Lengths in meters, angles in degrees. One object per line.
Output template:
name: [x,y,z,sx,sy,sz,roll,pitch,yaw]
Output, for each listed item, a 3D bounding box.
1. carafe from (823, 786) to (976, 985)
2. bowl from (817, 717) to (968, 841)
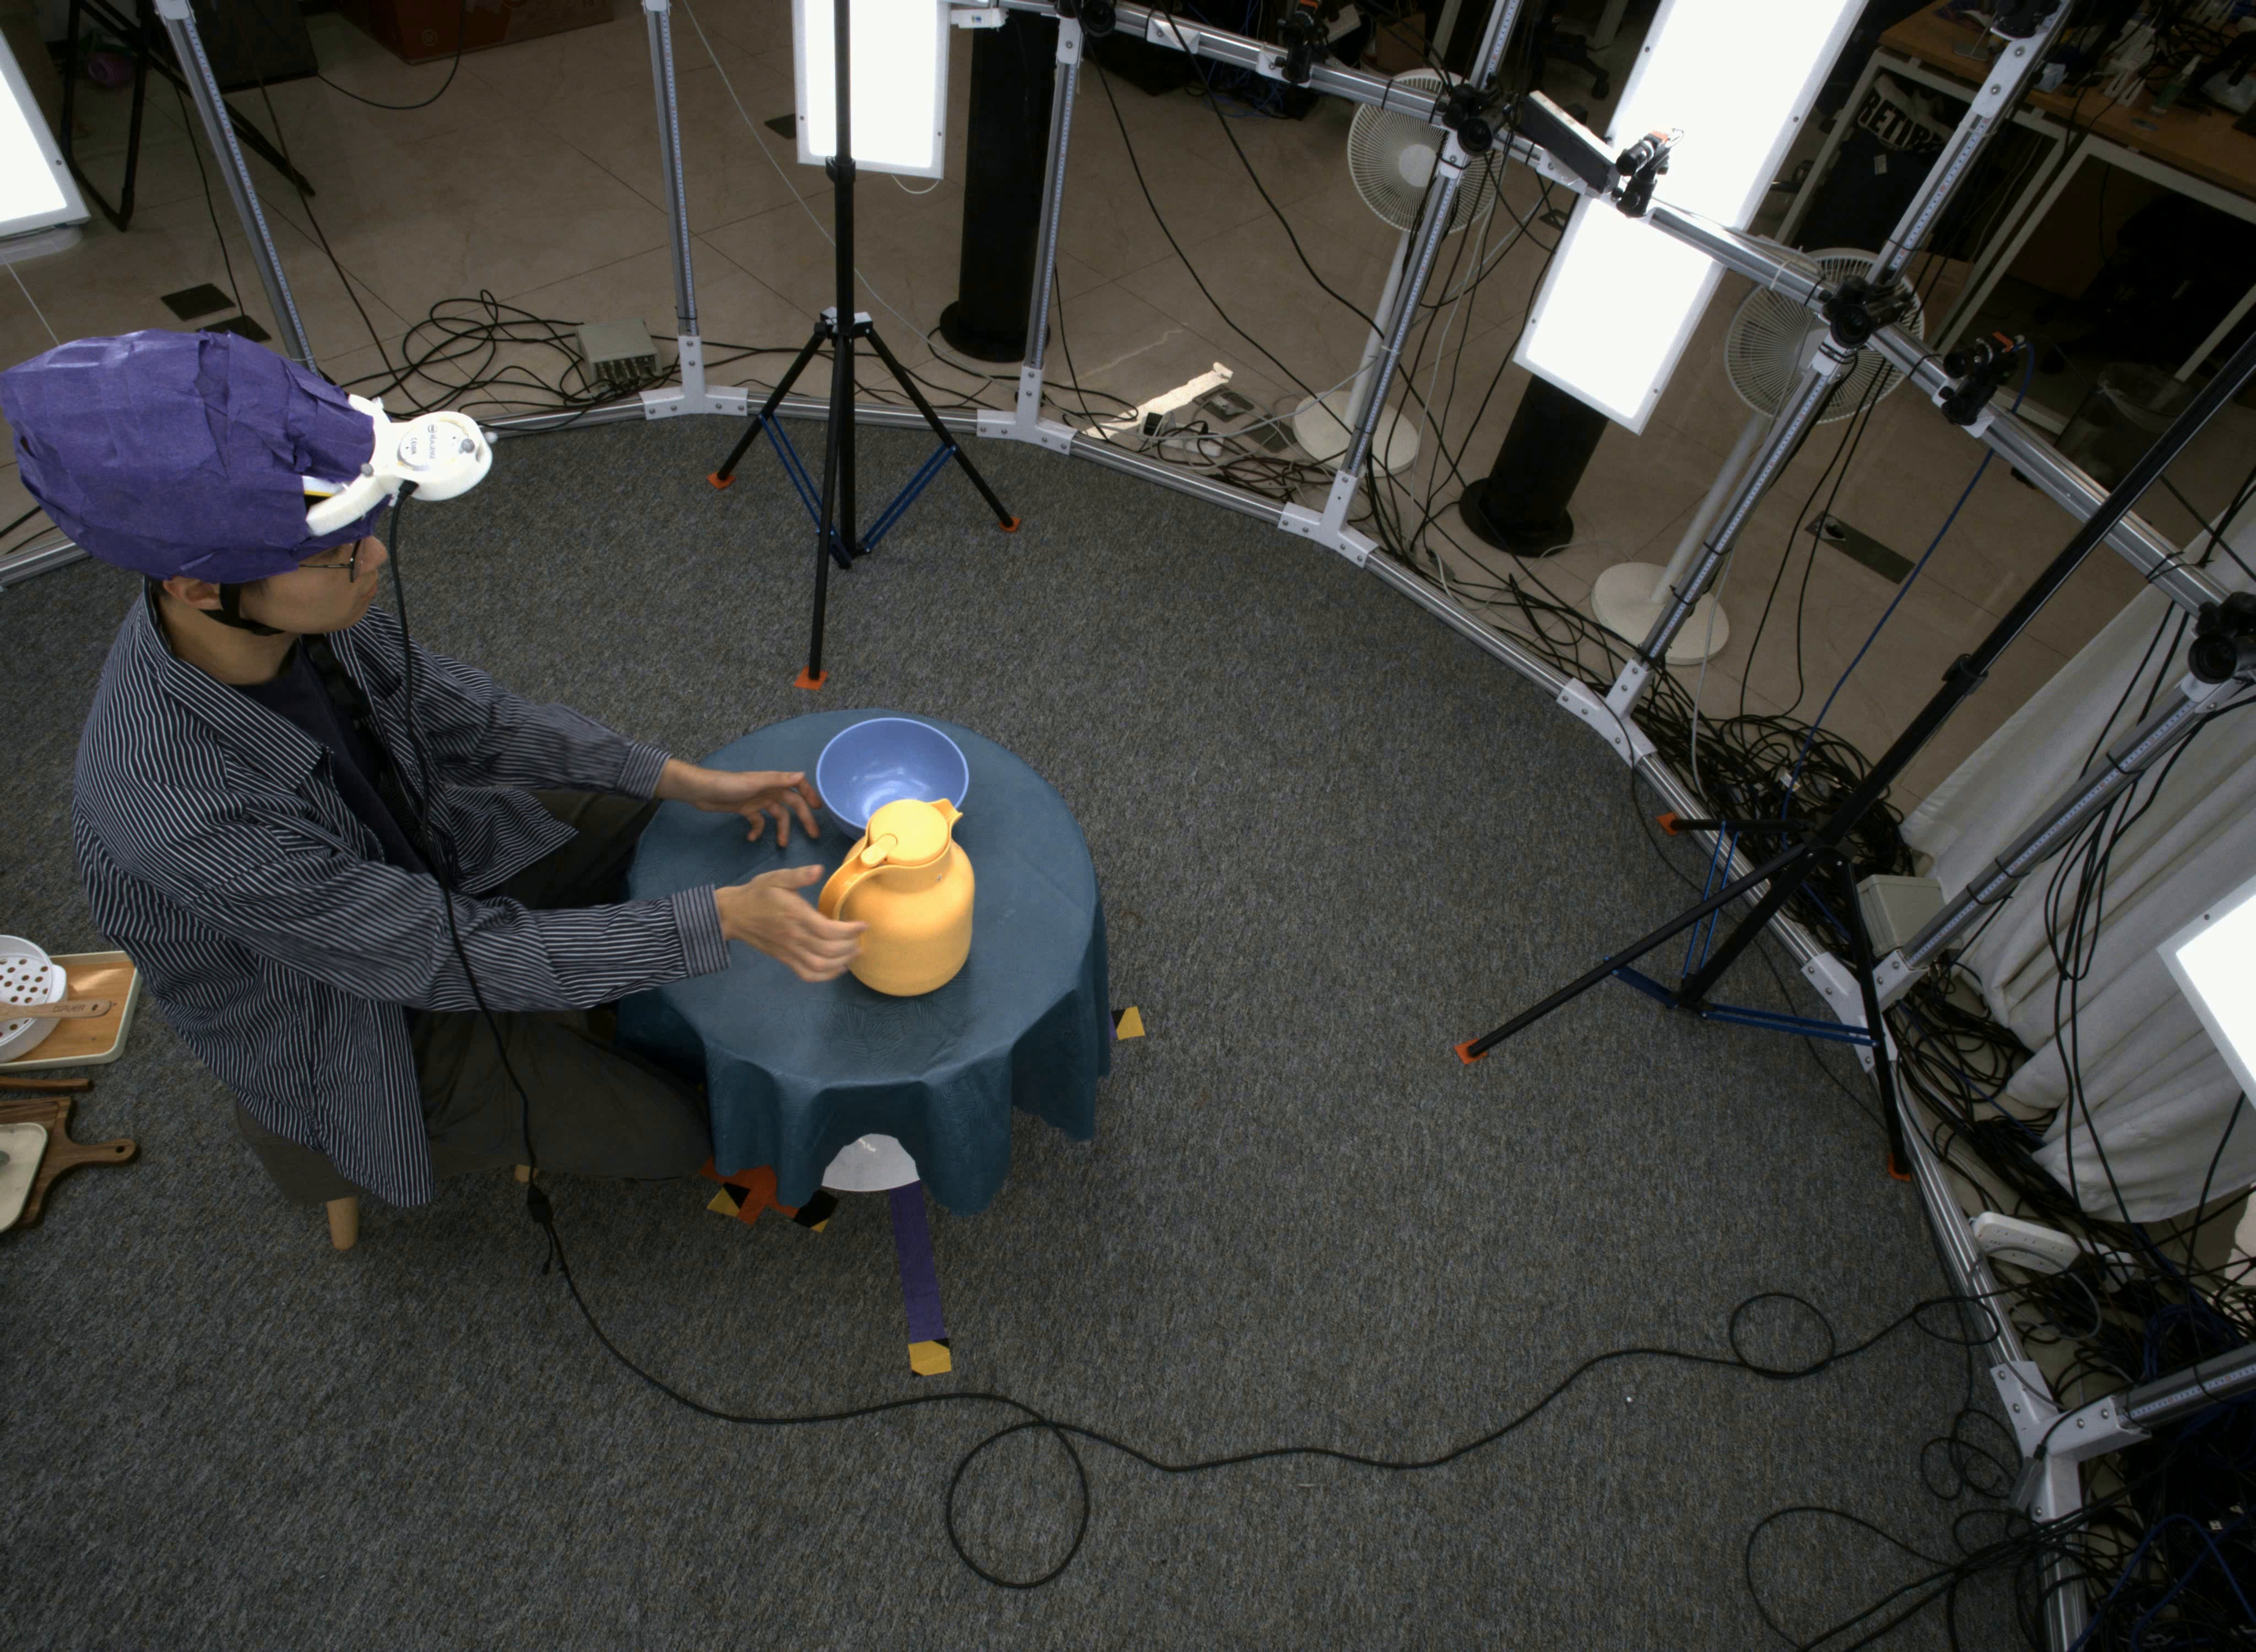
carafe: [-0.278,0.074,1.554,0.159,0.266,0.203,40,56,19]
bowl: [-0.314,-0.040,1.736,0.196,0.097,0.193,7,52,-8]
